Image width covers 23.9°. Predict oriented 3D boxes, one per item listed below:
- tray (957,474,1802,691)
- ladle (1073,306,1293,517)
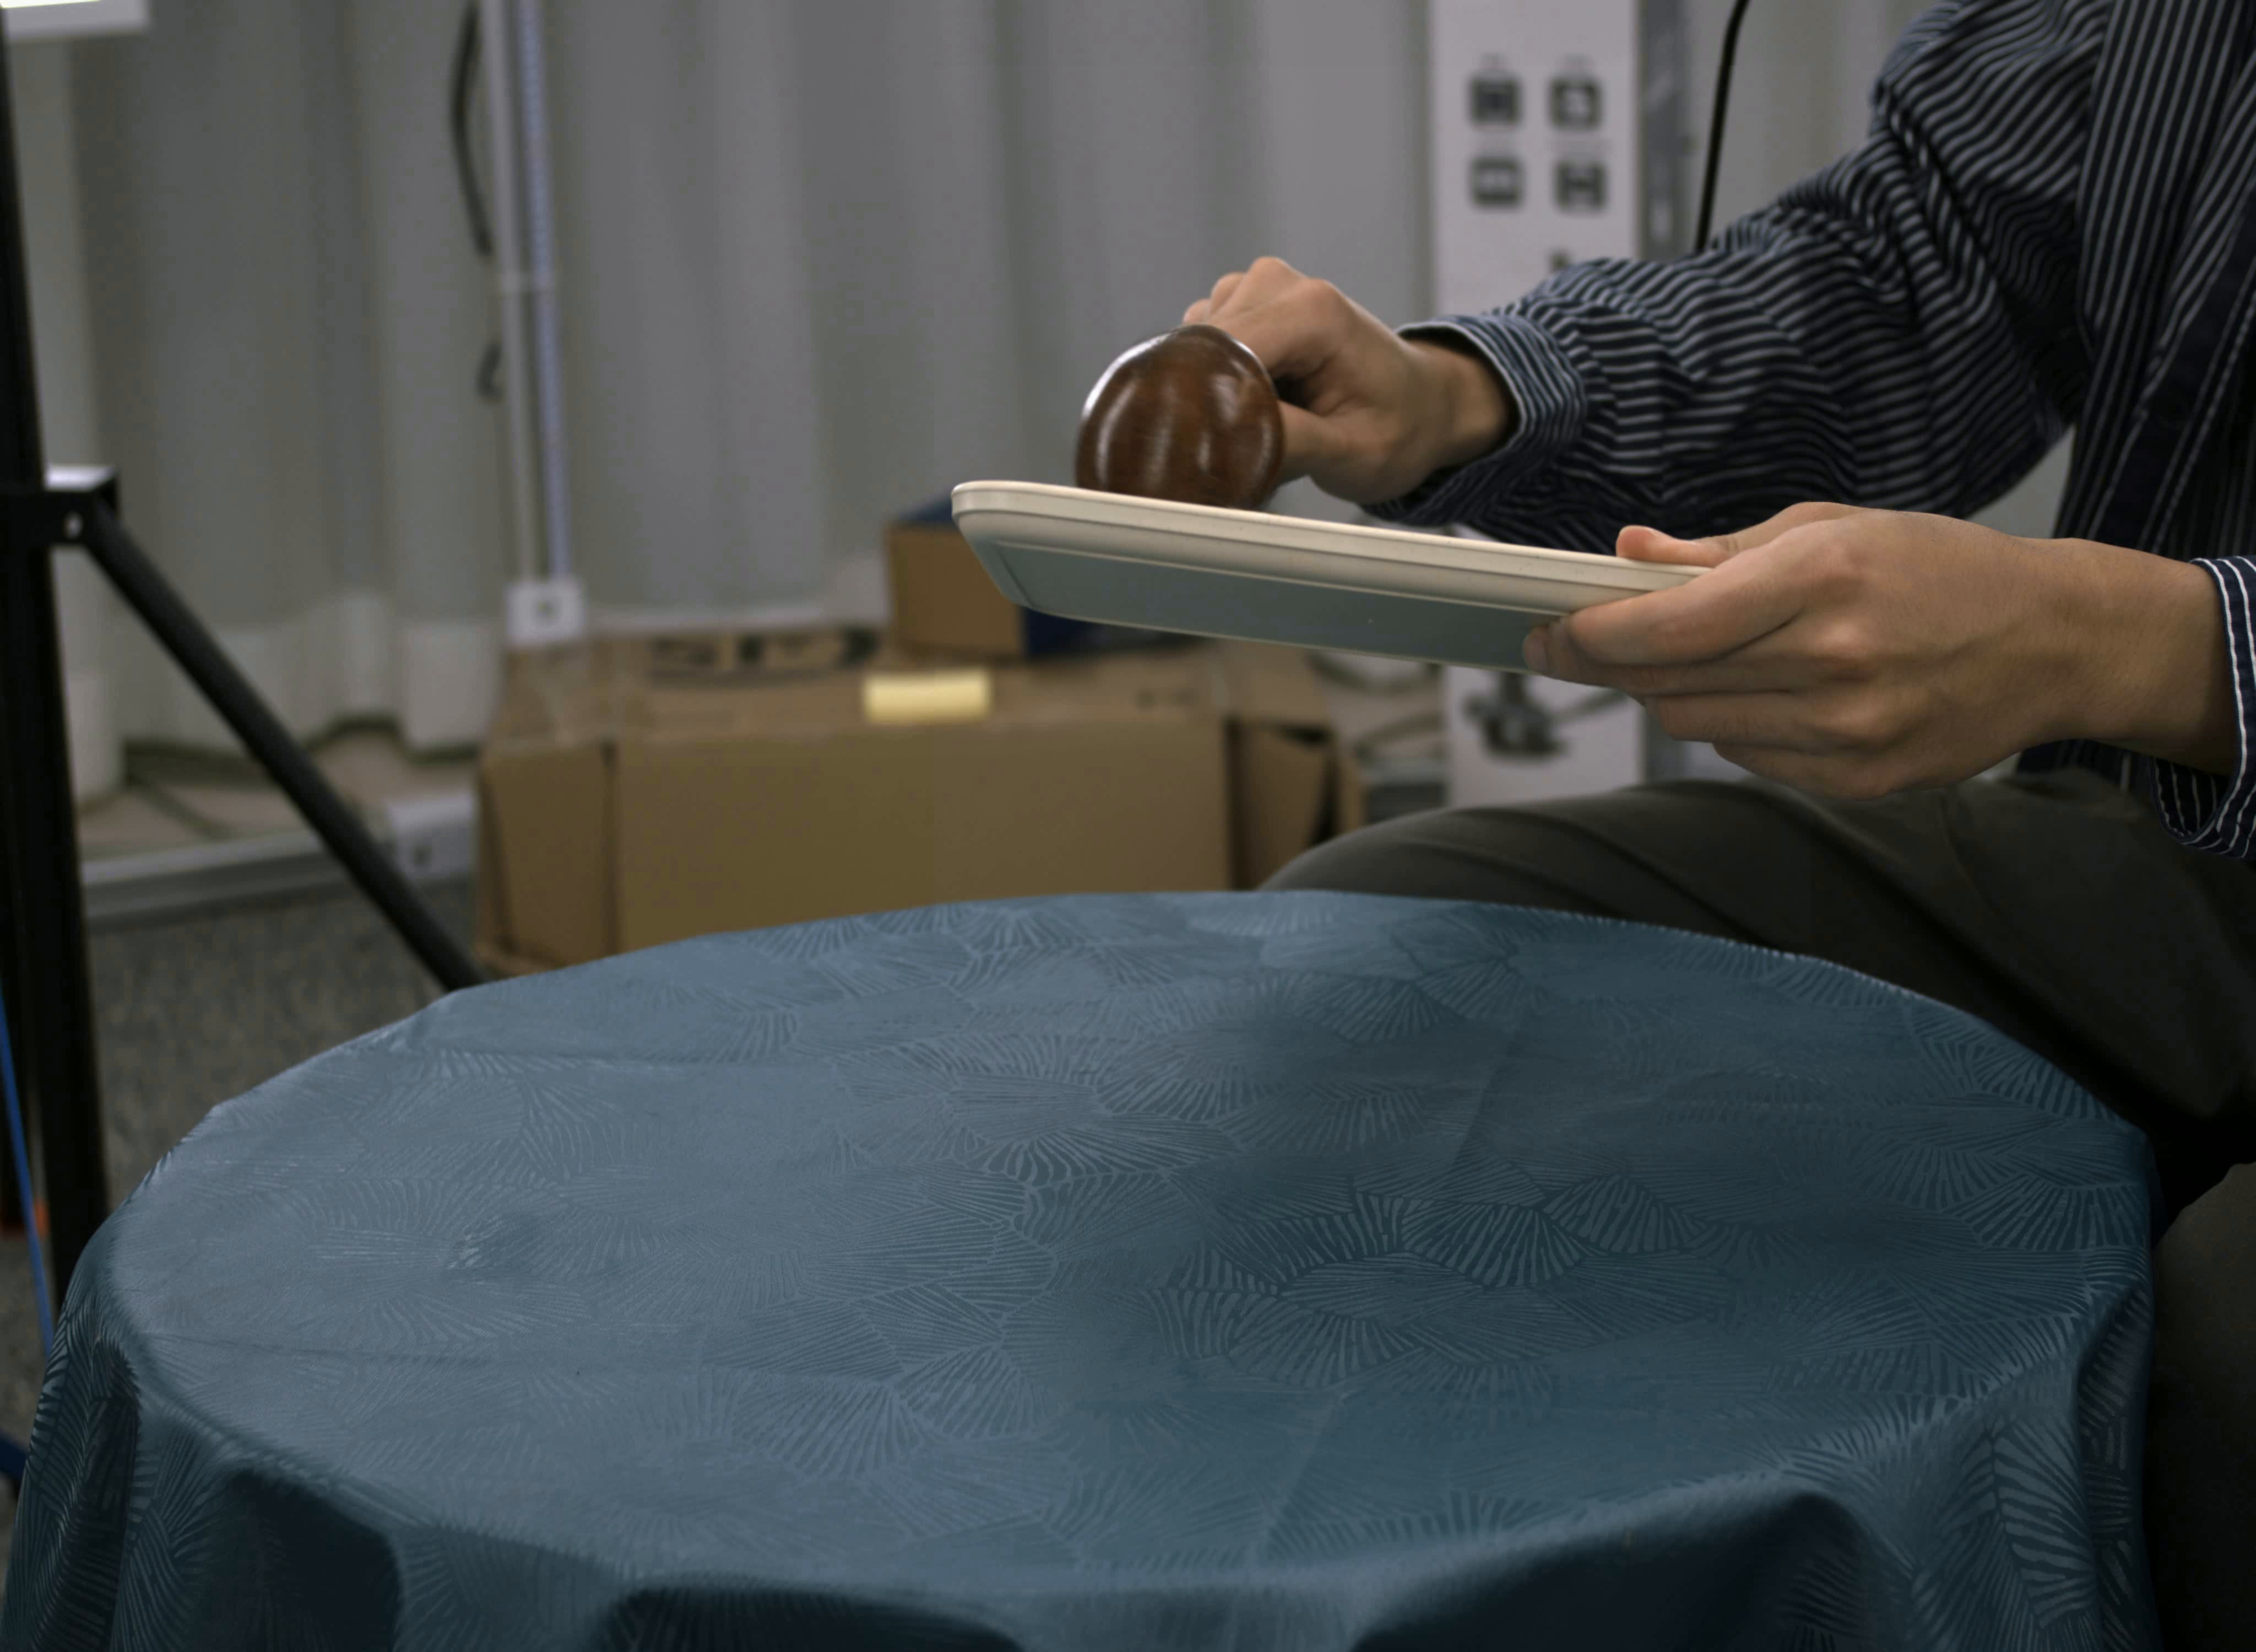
[{"bbox_3d":[0.072,-0.067,1.536,0.240,0.017,0.170,8,-5,7],"label":"tray"},{"bbox_3d":[0.039,-0.121,1.659,0.077,0.082,0.271,15,9,12],"label":"ladle"}]
